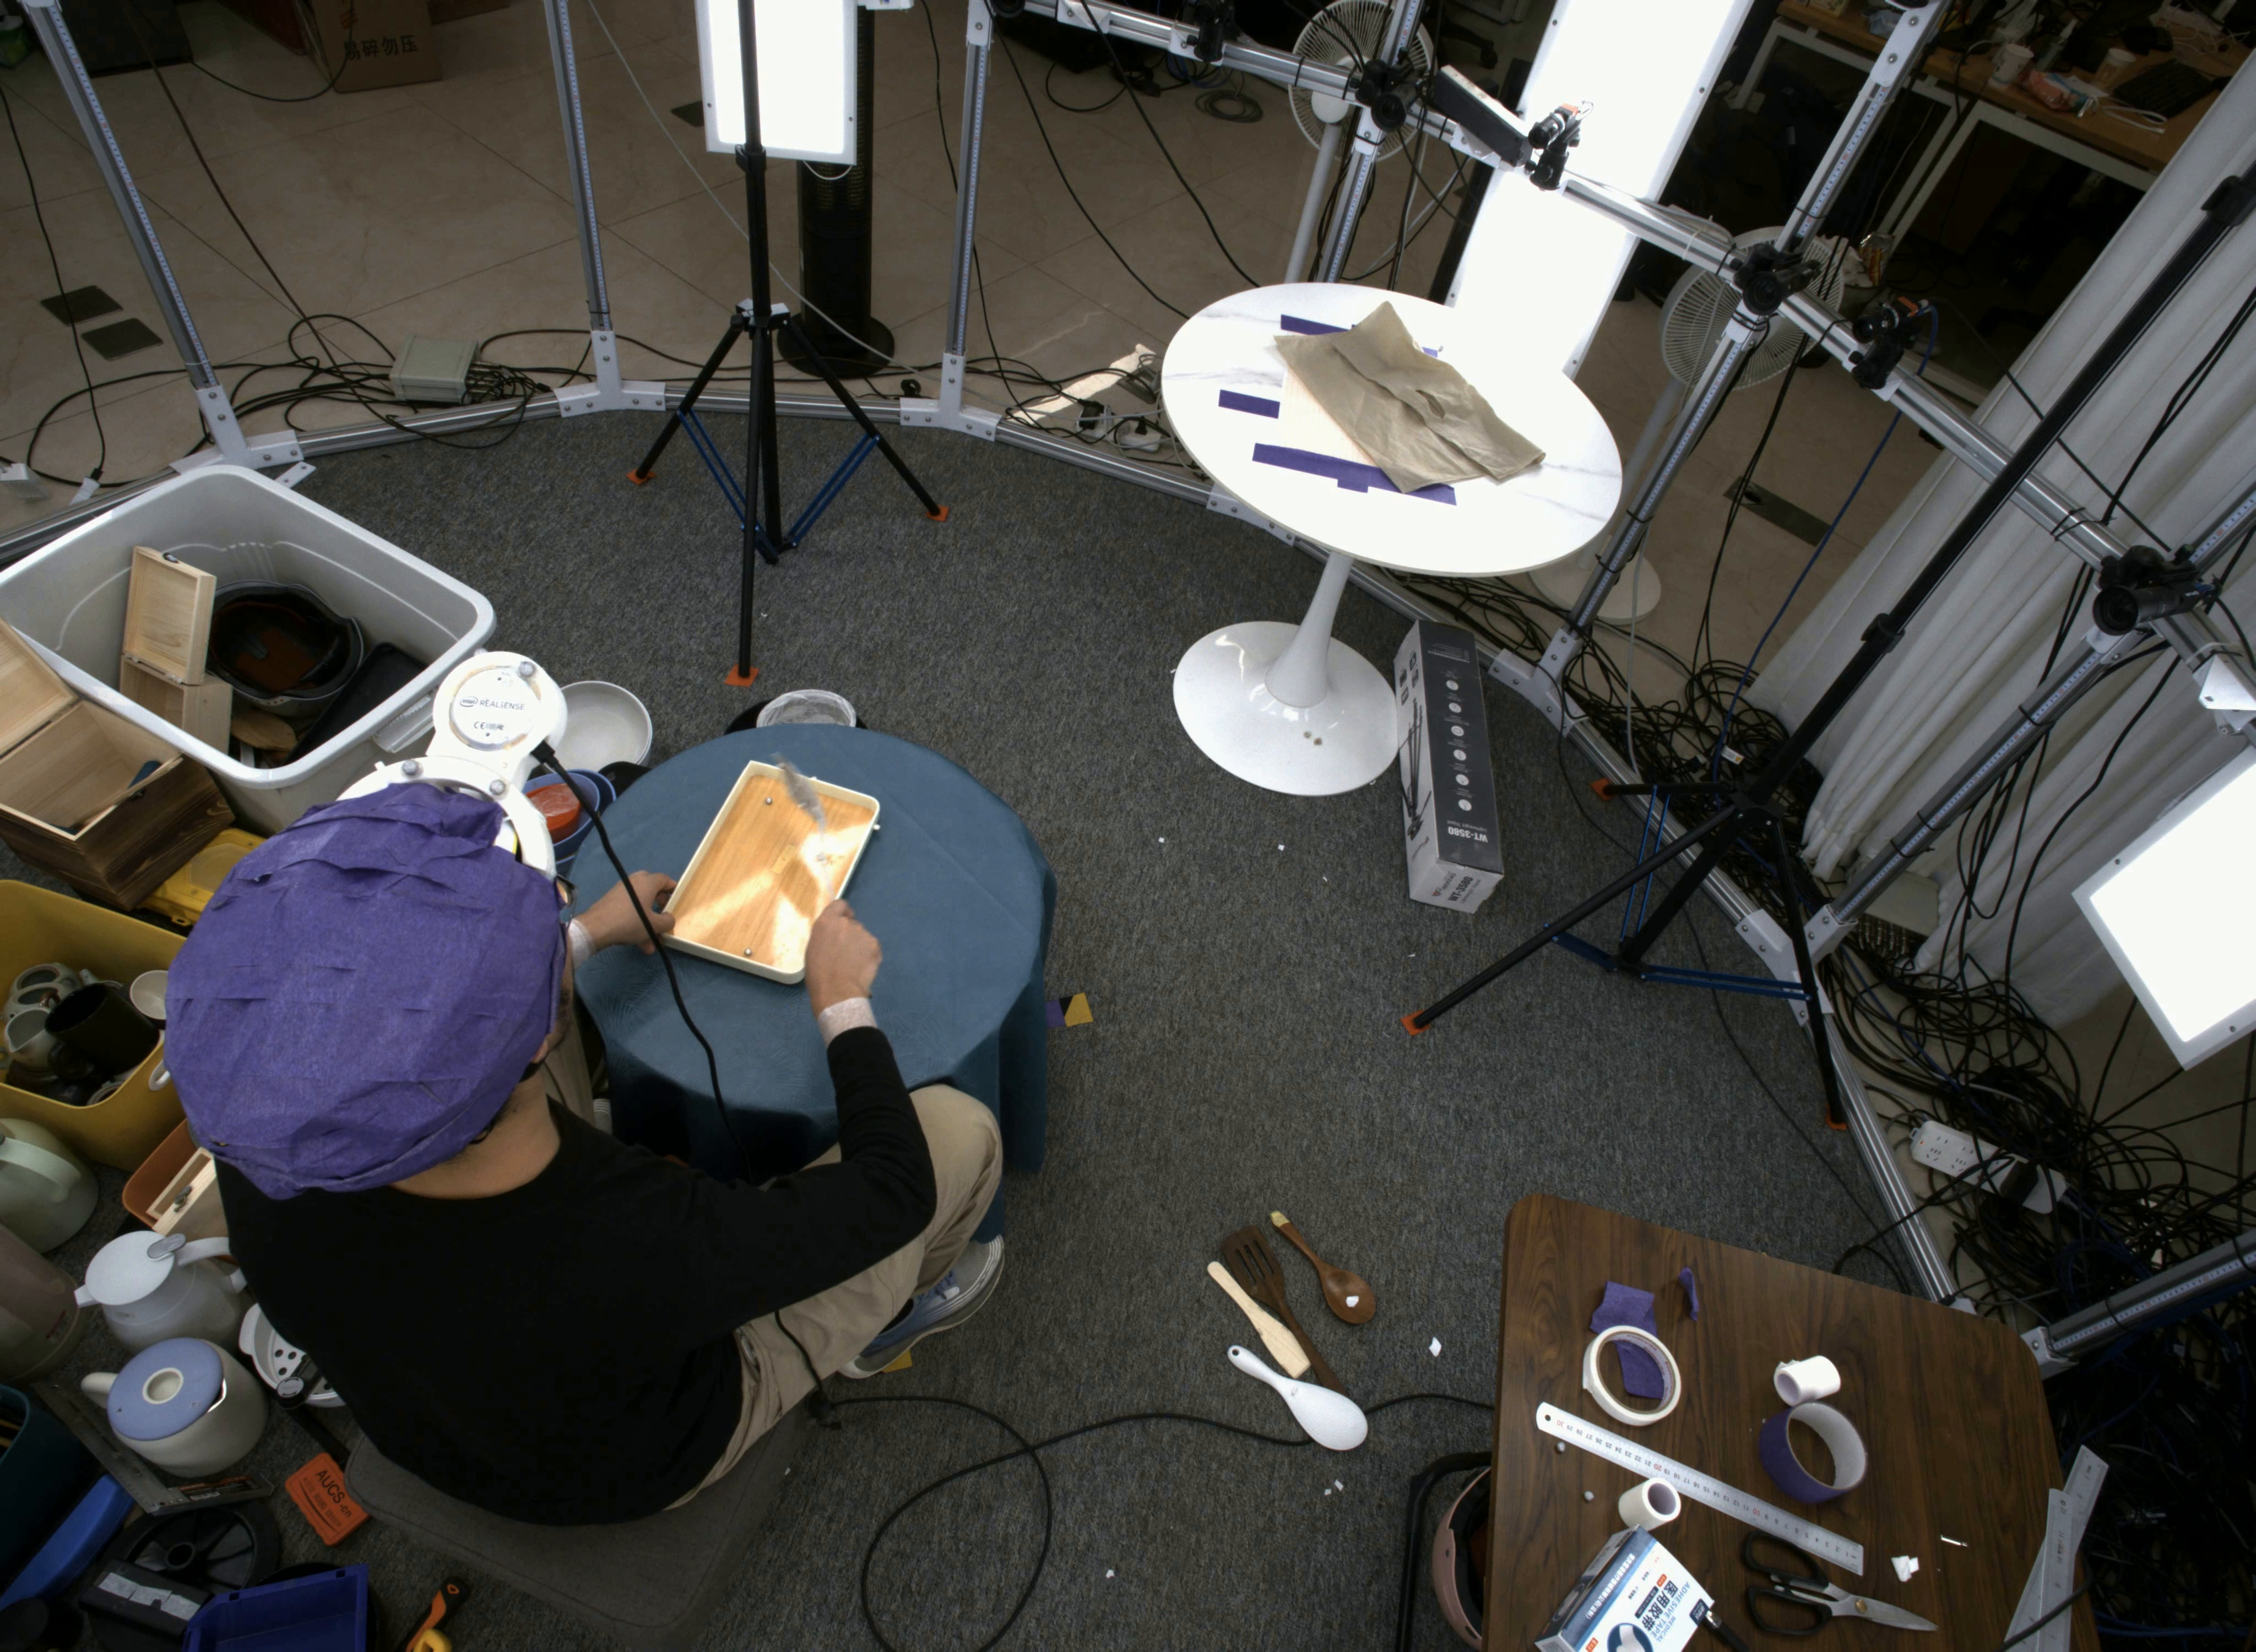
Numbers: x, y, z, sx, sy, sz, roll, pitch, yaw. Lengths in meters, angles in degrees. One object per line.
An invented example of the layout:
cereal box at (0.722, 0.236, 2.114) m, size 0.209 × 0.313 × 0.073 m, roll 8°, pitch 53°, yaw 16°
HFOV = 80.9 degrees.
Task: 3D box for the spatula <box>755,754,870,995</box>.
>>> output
spatula at (-0.376, 0.056, 1.539) m, size 0.044 × 0.102 × 0.355 m, roll -19°, pitch 56°, yaw -11°

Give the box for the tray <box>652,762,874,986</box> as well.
tray at (-0.458, 0.053, 1.647) m, size 0.190 × 0.028 × 0.296 m, roll 18°, pitch 50°, yaw -3°
